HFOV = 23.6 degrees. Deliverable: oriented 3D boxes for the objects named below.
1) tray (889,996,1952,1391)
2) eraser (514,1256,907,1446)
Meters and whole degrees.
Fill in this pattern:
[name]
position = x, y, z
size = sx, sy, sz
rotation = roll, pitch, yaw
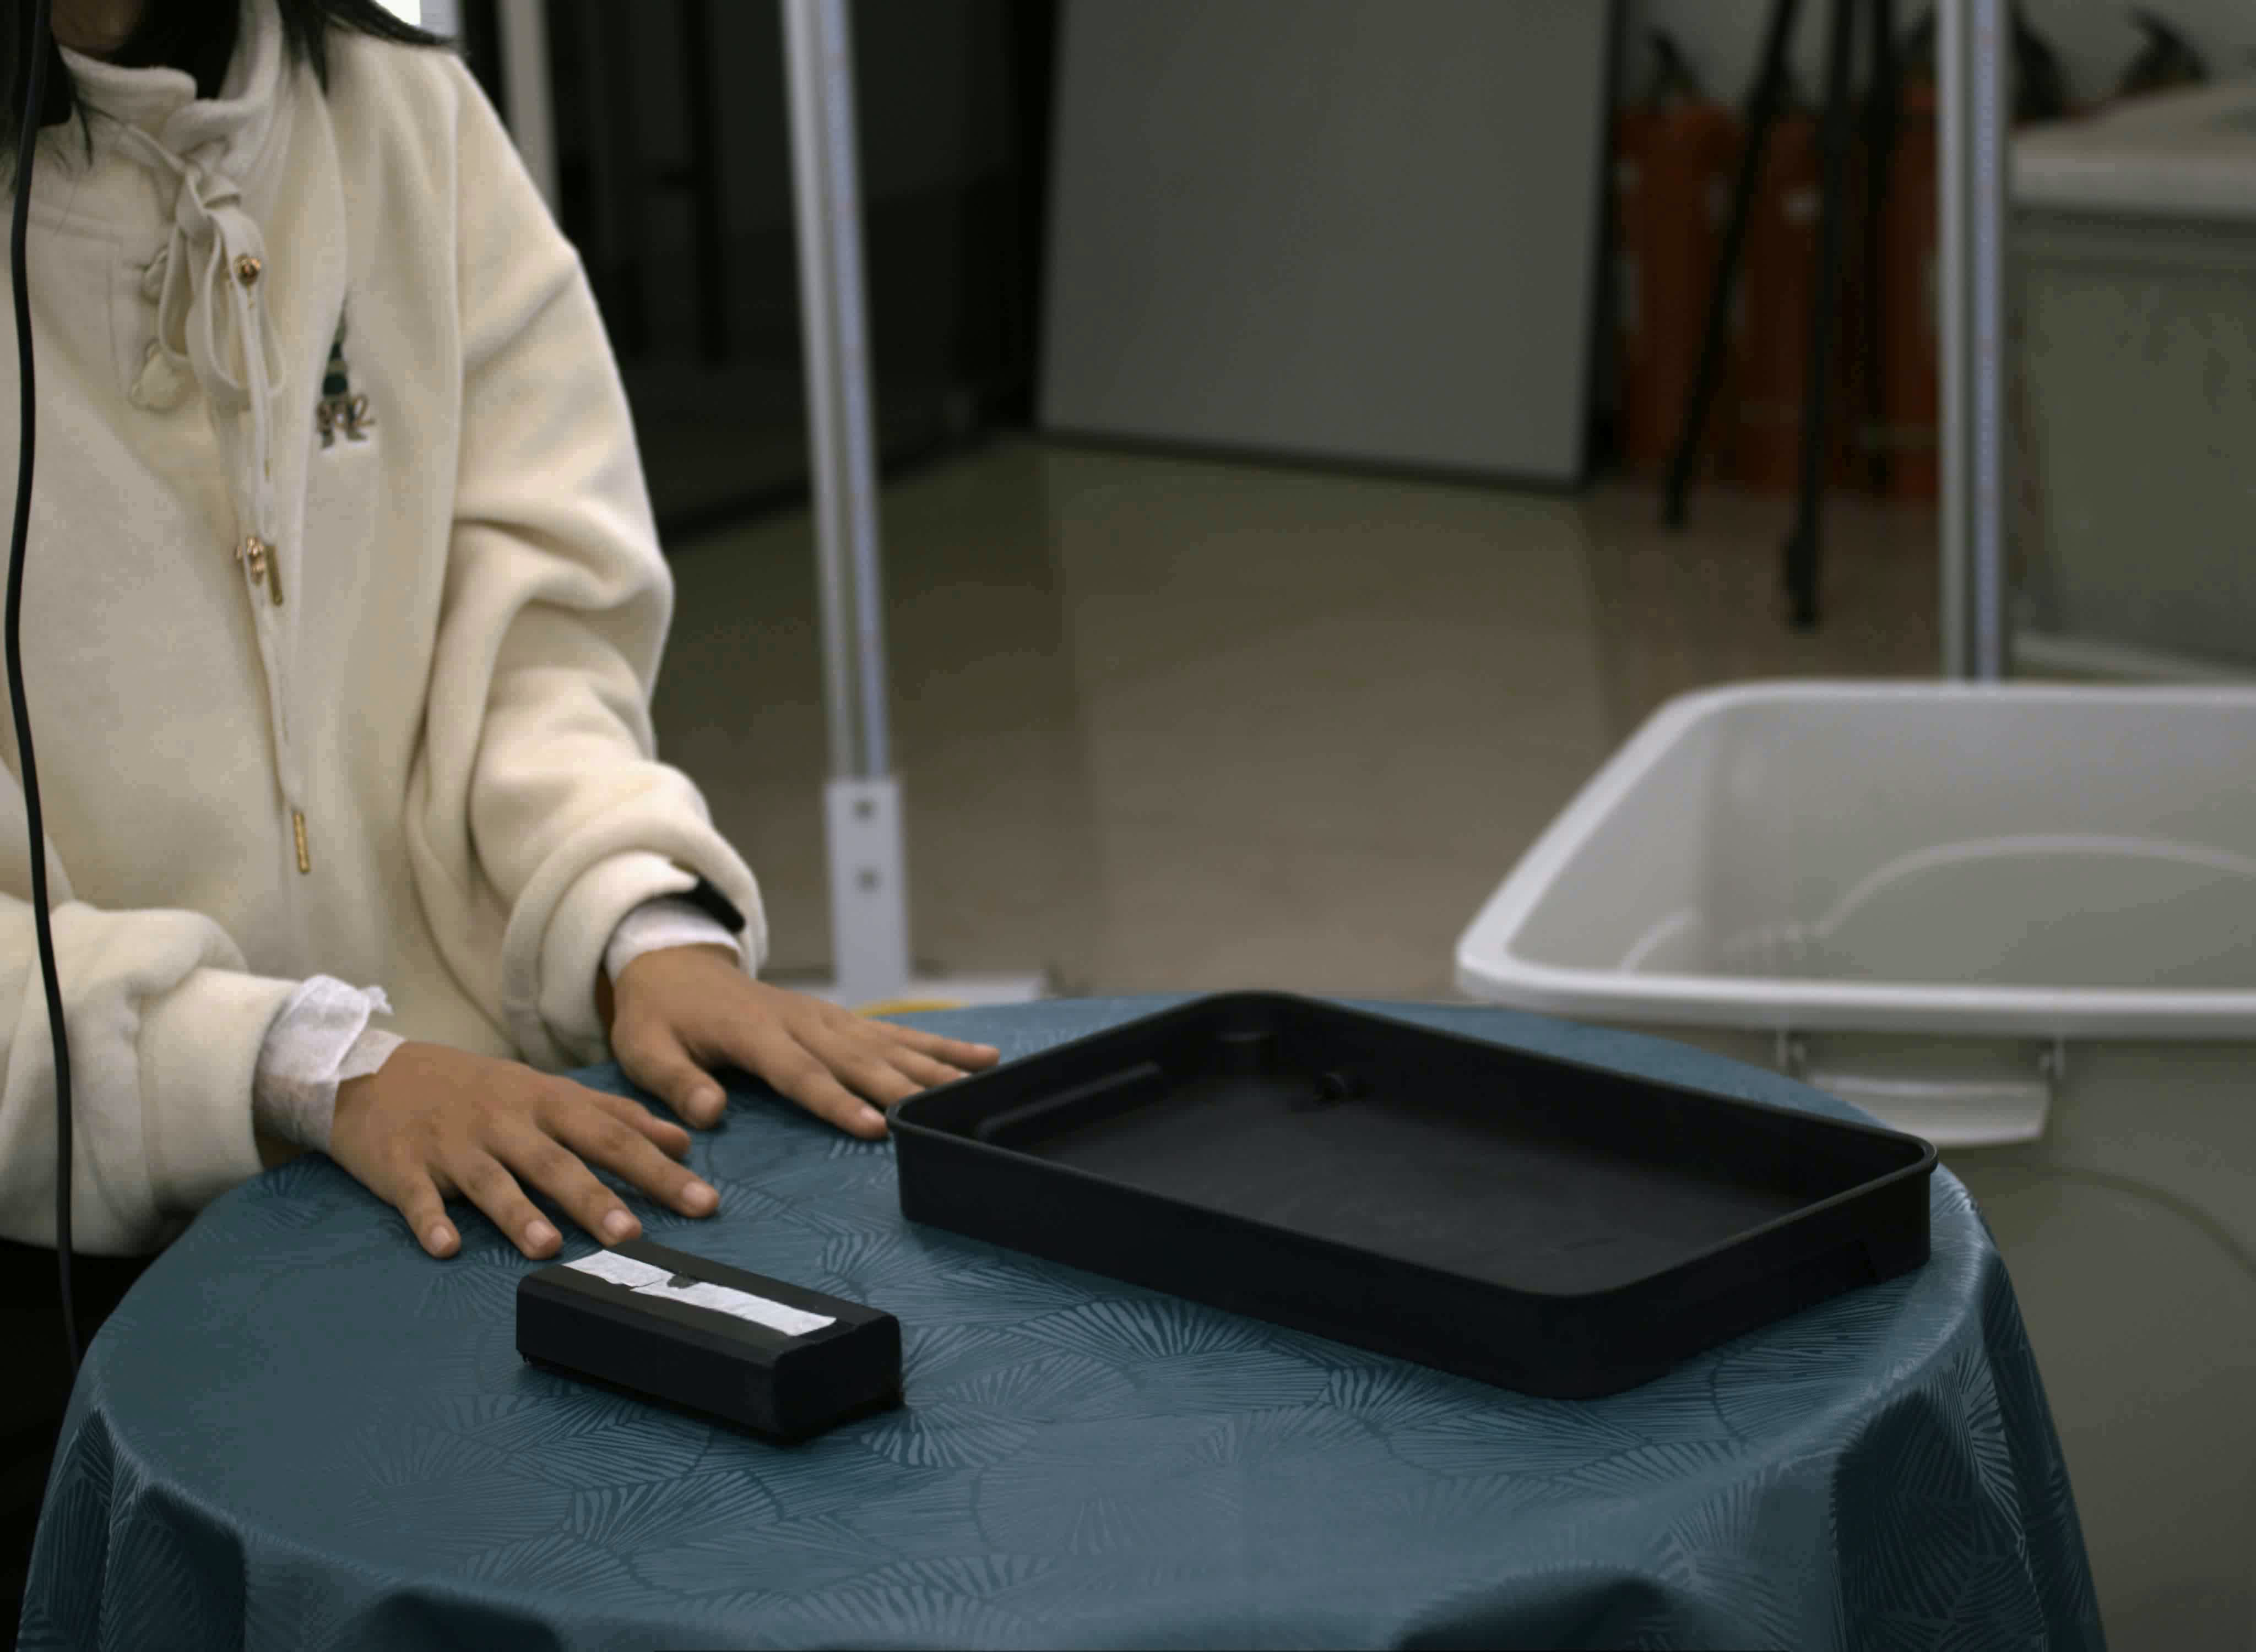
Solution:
[tray]
position = 0.088, 0.111, 1.703
size = 0.180, 0.037, 0.321
rotation = -16, 18, -42
[eraser]
position = -0.124, 0.155, 1.611
size = 0.052, 0.031, 0.127
rotation = -11, 14, -42
